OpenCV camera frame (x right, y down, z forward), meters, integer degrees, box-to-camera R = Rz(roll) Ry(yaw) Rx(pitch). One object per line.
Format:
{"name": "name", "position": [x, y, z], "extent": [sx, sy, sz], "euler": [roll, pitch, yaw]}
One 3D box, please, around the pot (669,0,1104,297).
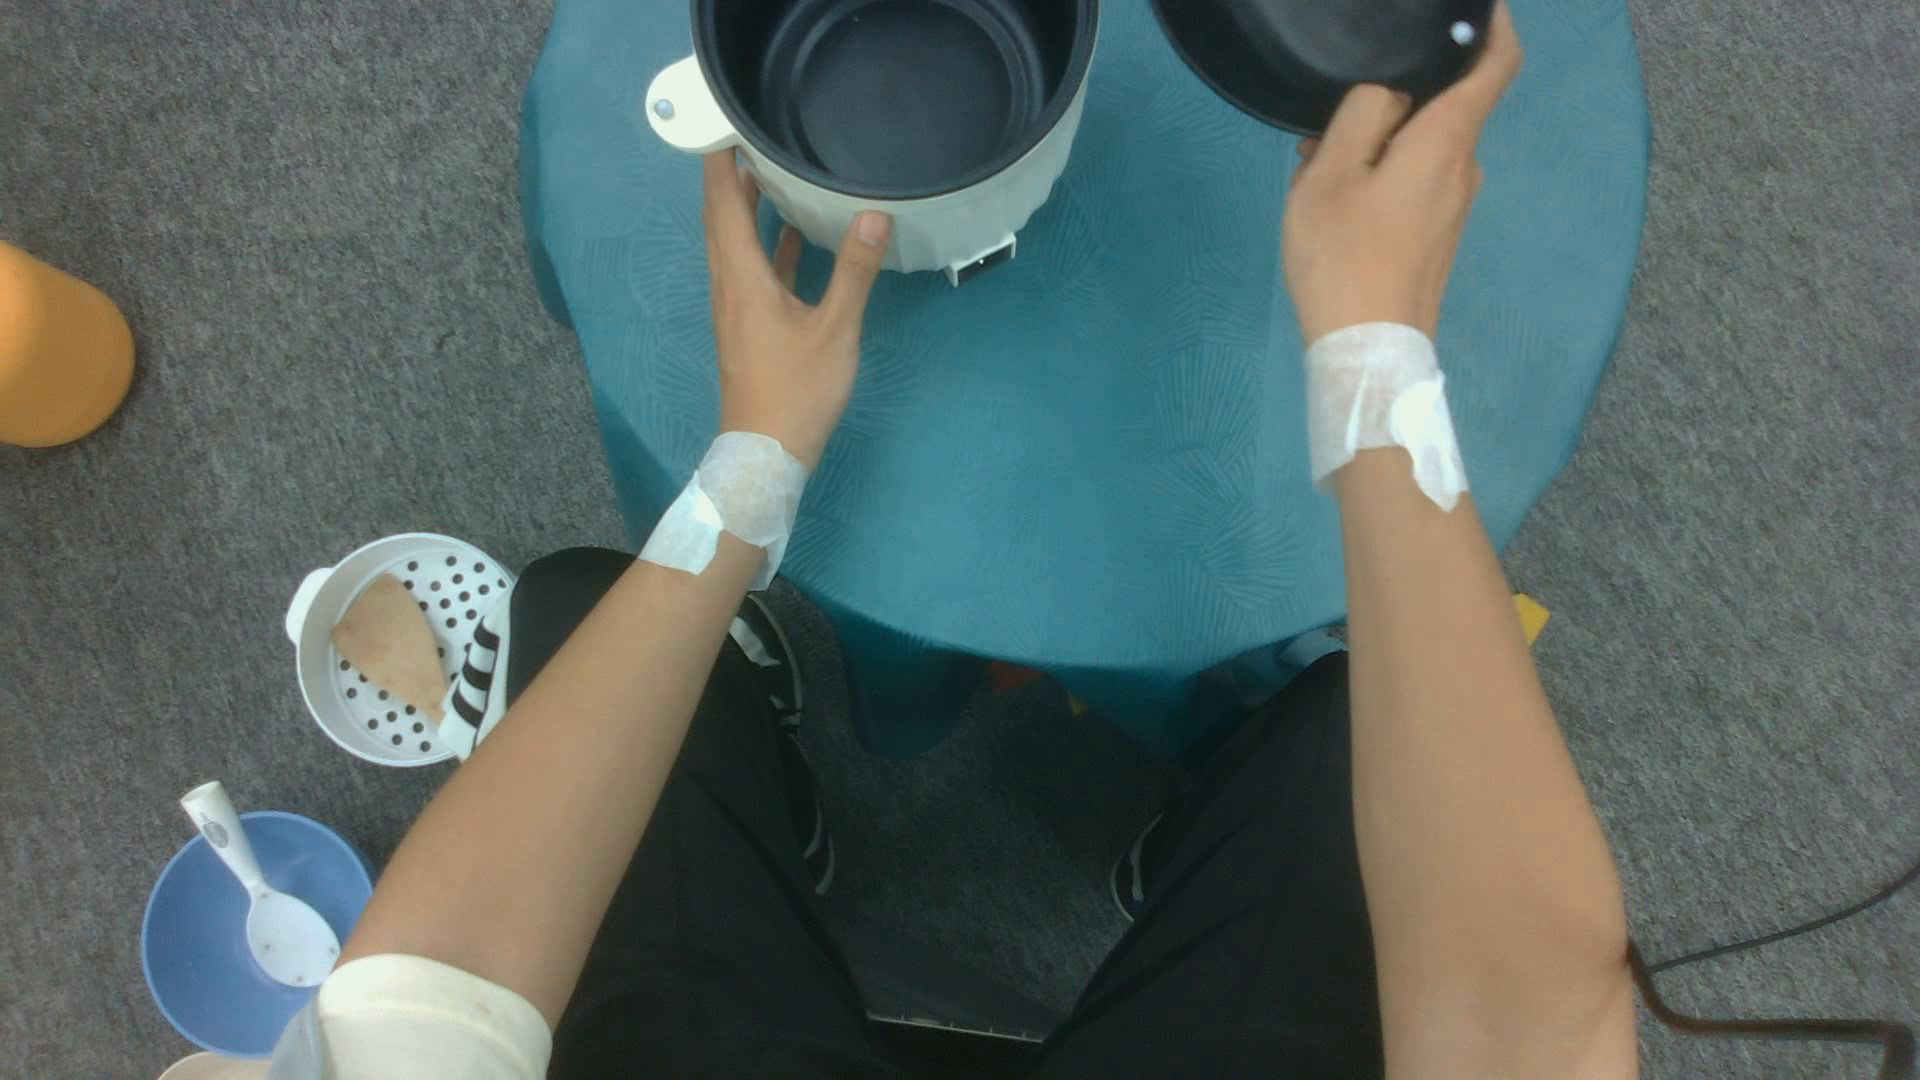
{"name": "pot", "position": [-0.027, -0.227, 0.693], "extent": [0.240, 0.142, 0.190], "euler": [-28, 85, -4]}

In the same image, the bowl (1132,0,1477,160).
{"name": "bowl", "position": [0.151, -0.242, 0.577], "extent": [0.136, 0.067, 0.170], "euler": [-40, 79, 38]}
